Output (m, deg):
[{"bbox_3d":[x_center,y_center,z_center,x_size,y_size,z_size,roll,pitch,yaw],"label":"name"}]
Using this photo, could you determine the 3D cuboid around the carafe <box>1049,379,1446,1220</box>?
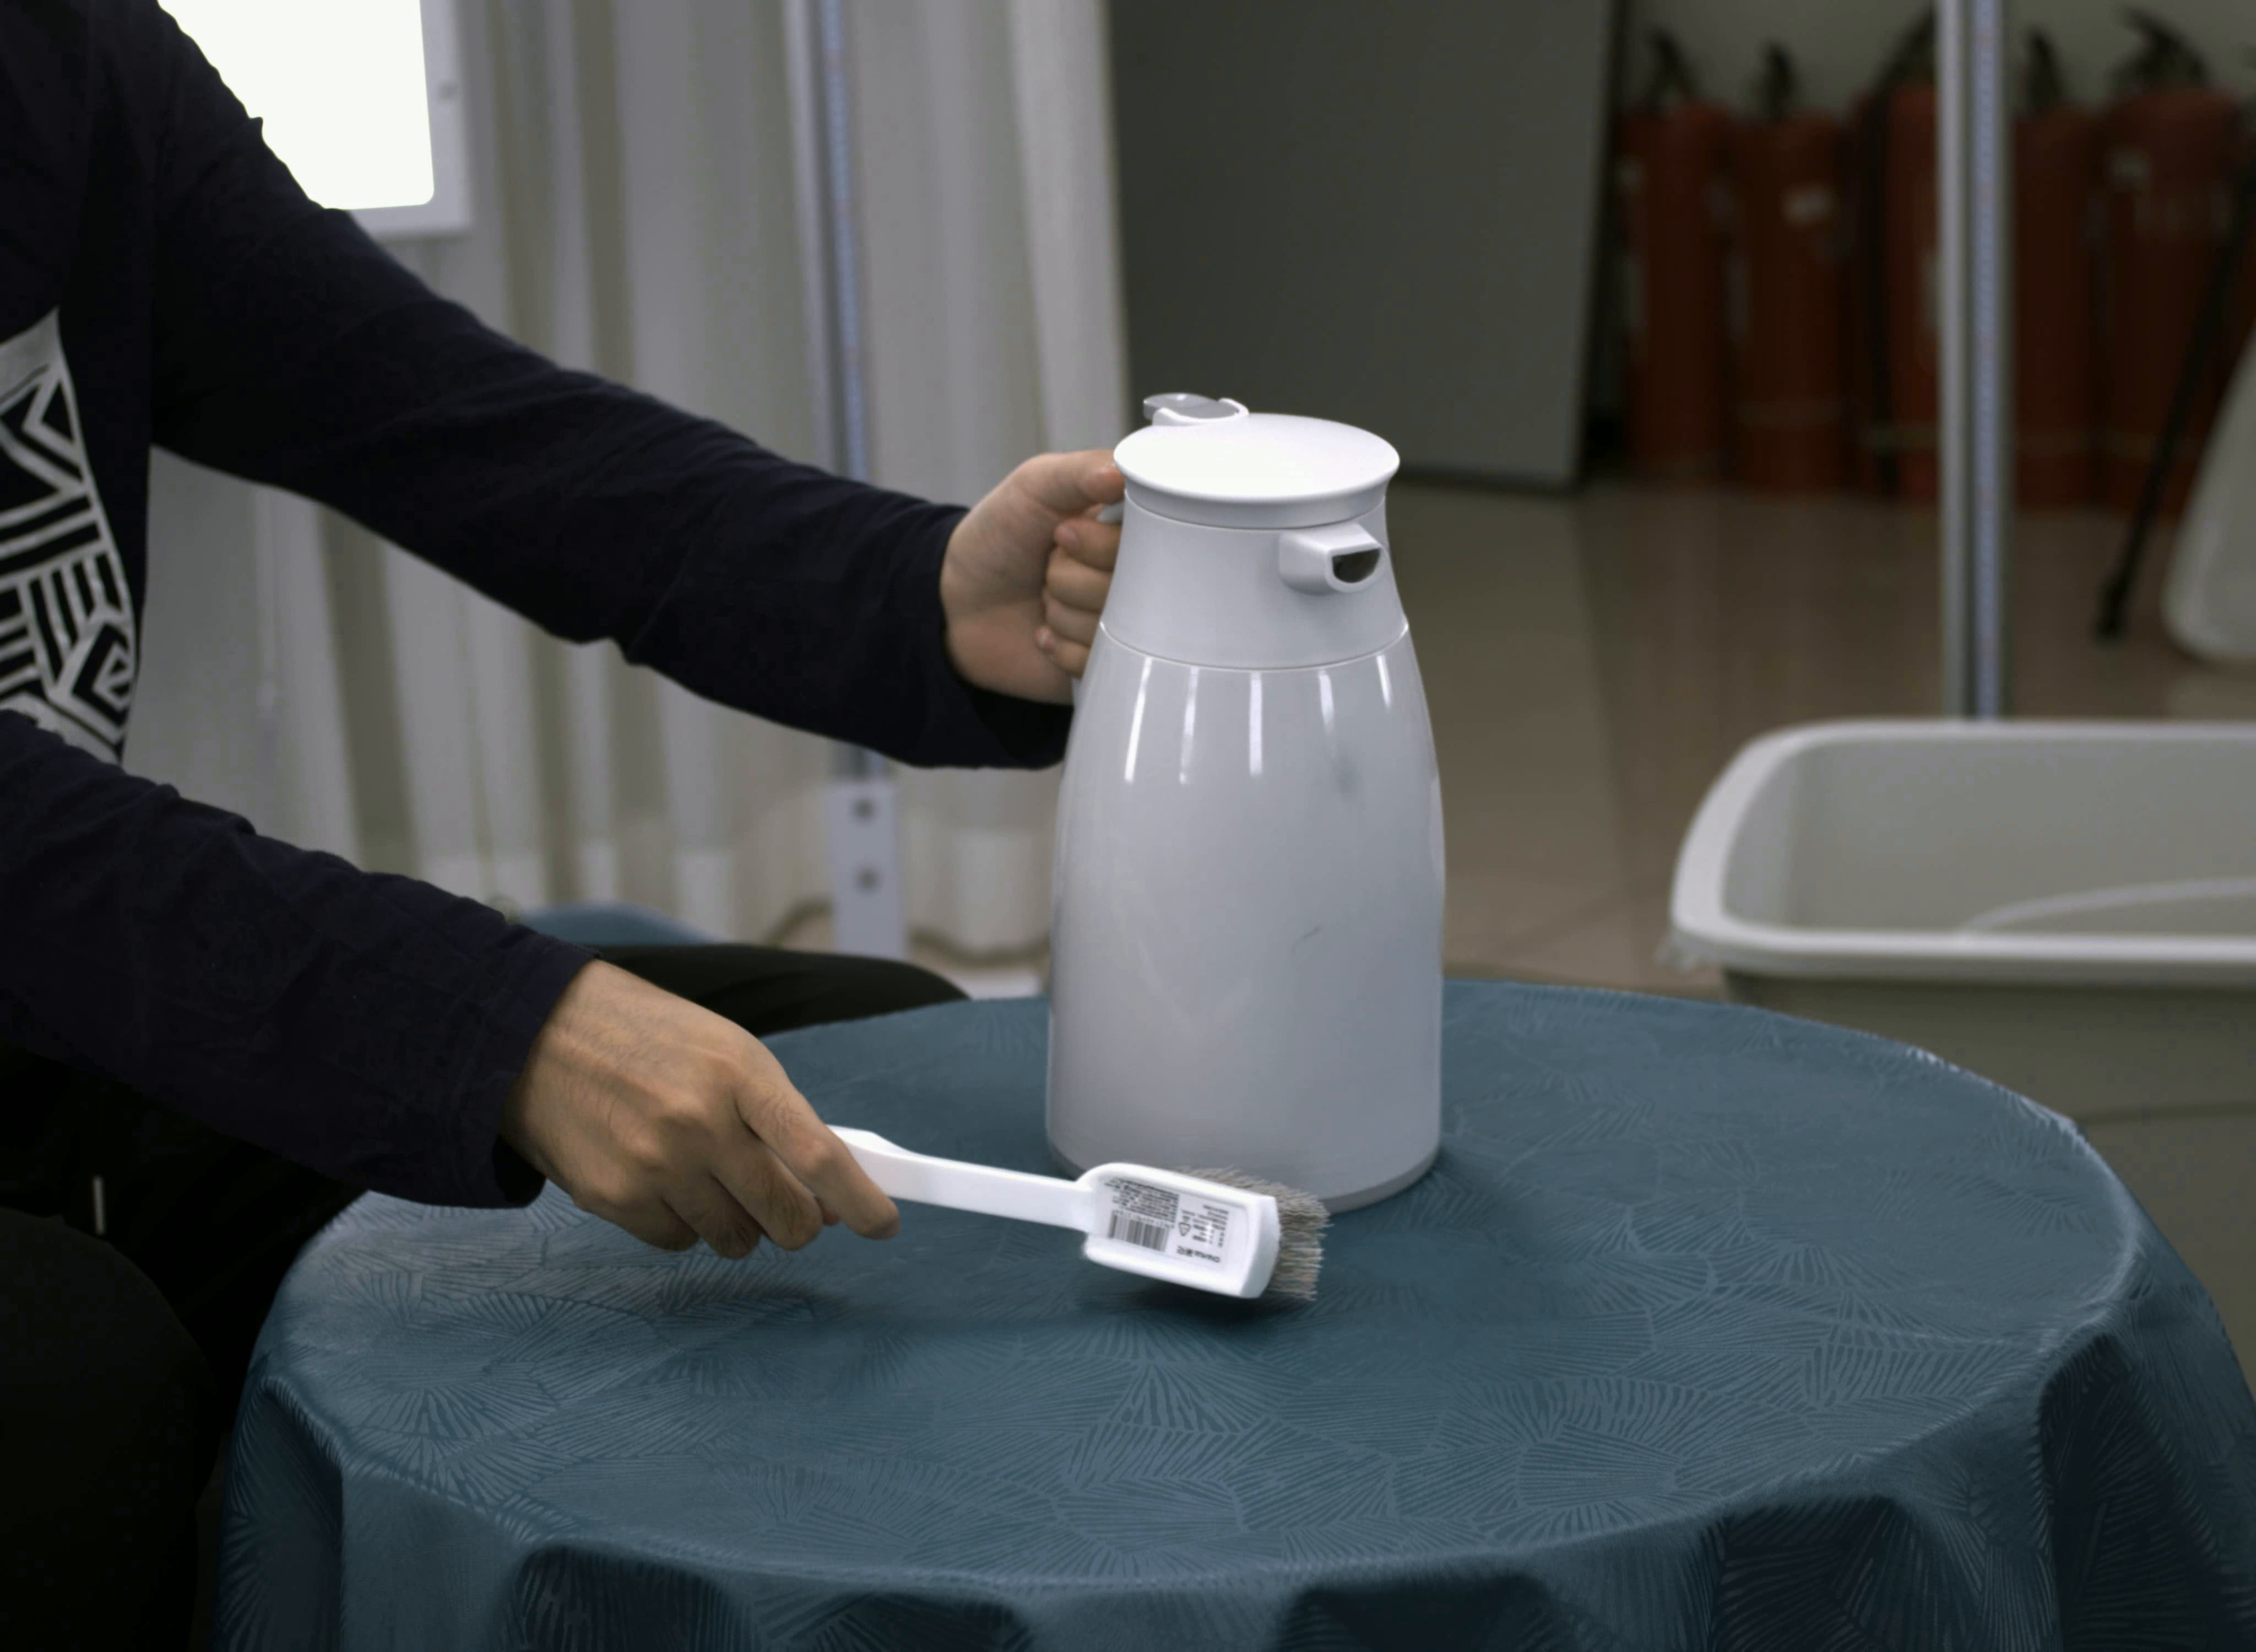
[{"bbox_3d":[0.029,-0.017,1.762,0.129,0.251,0.169,-12,22,-29],"label":"carafe"}]

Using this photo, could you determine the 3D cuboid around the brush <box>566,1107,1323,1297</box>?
[{"bbox_3d":[-0.057,0.113,1.679,0.243,0.035,0.049,7,3,19],"label":"brush"}]
